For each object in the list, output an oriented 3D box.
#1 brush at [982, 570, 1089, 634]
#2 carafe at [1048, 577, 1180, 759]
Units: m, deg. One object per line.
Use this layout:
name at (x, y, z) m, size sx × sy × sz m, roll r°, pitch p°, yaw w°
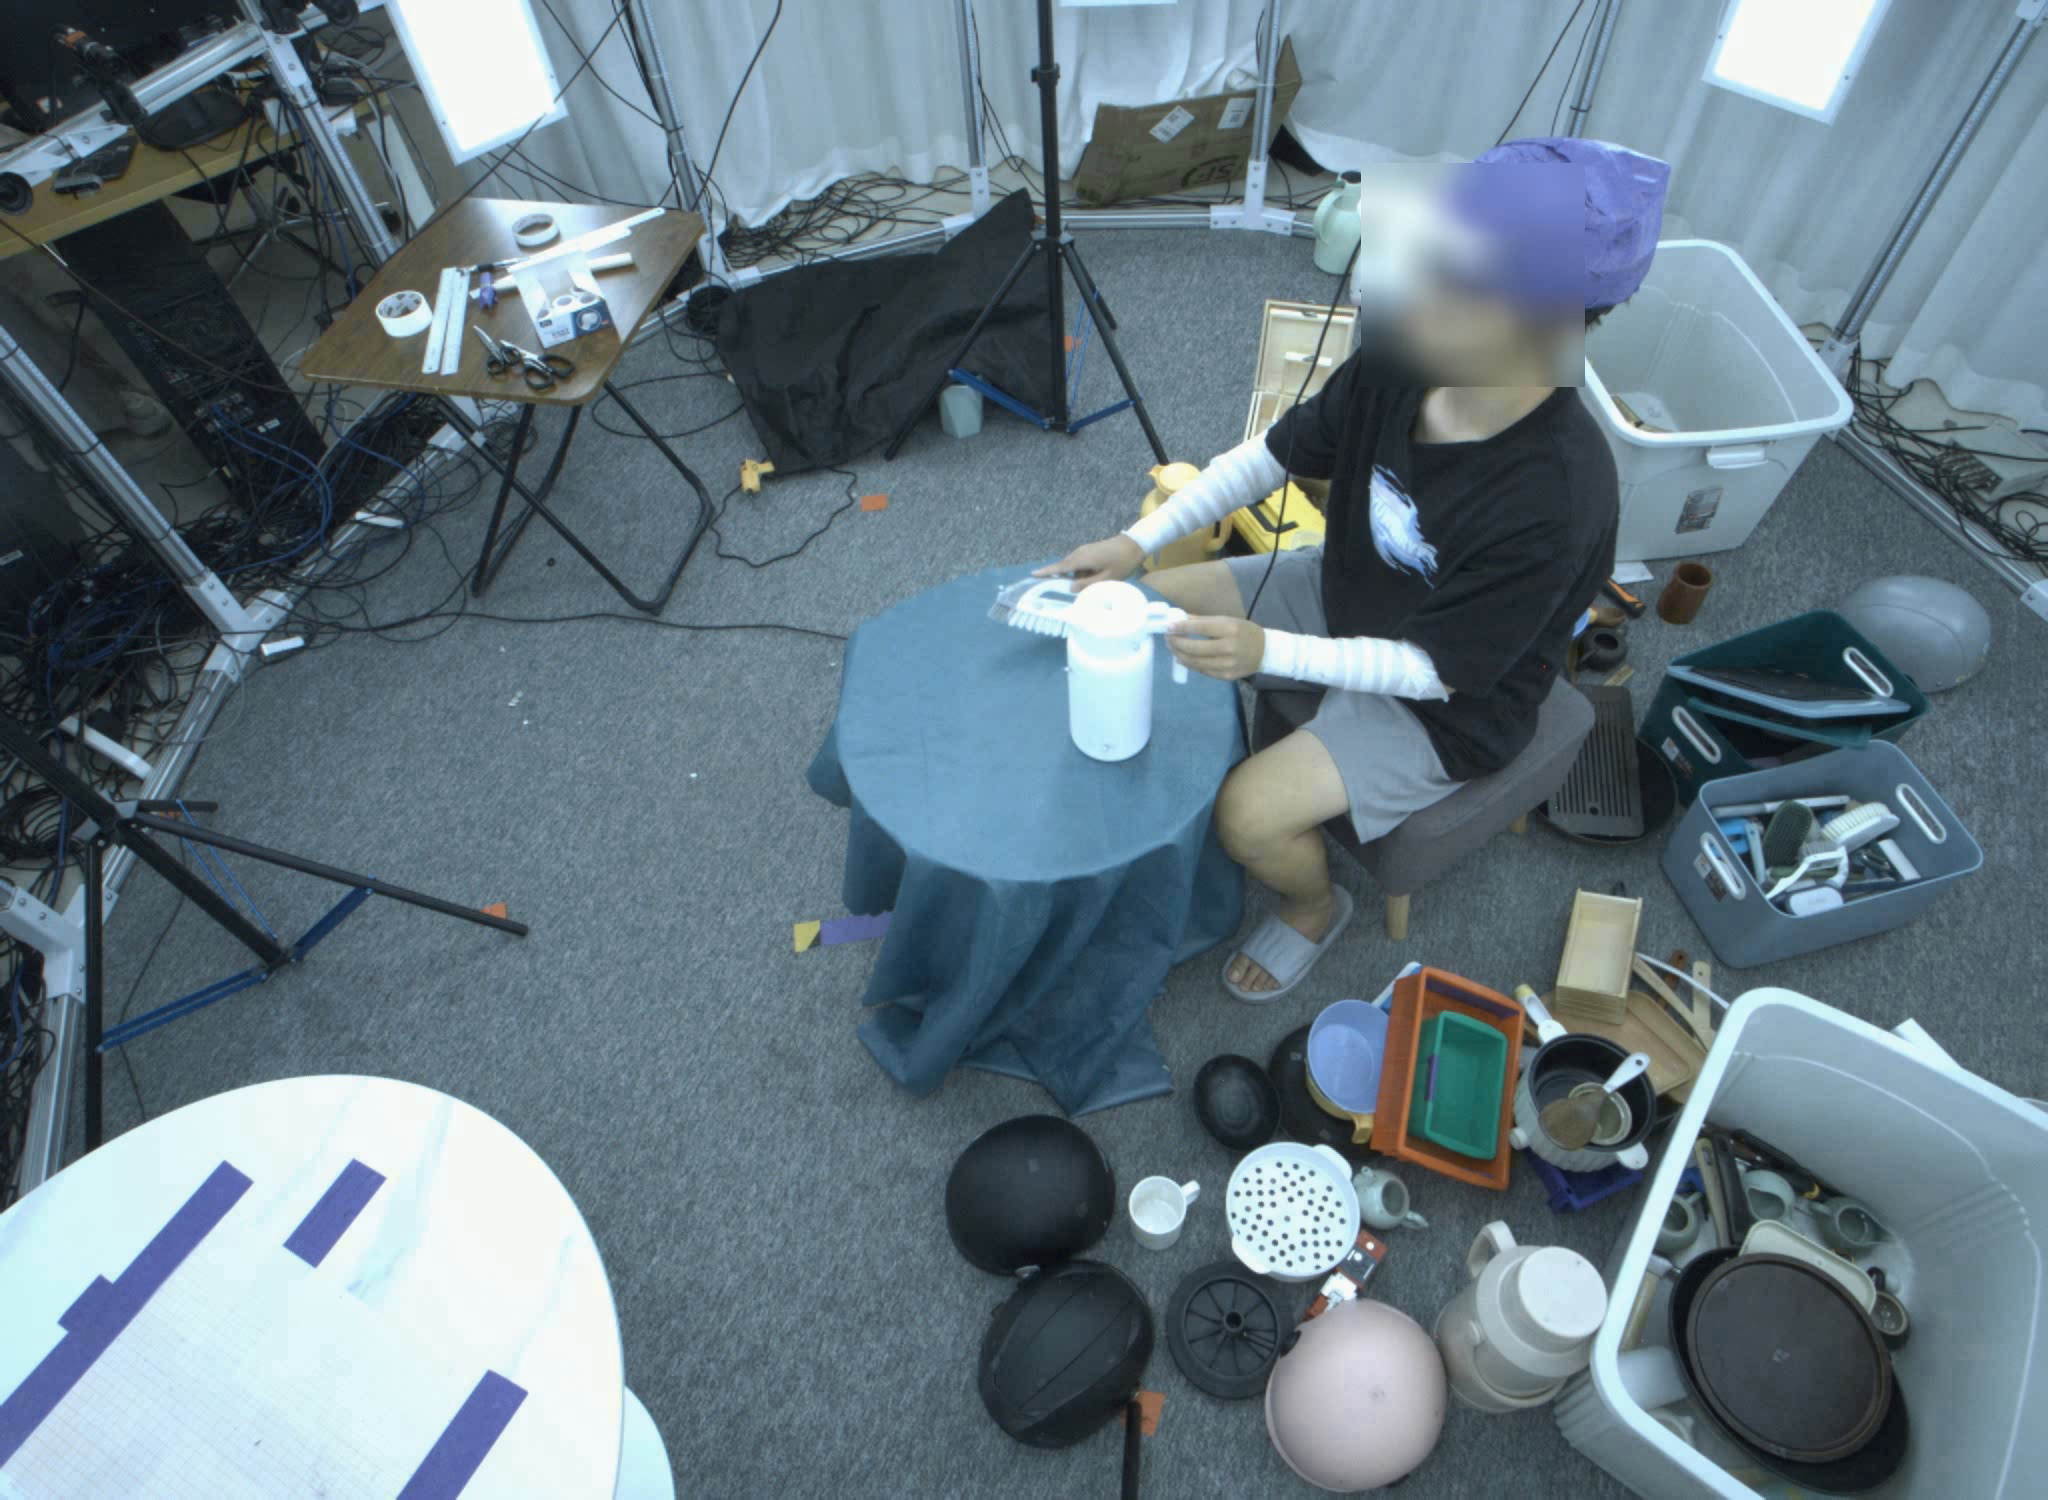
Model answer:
brush at (0.029, -0.225, 1.843) m, size 0.178 × 0.094 × 0.060 m, roll 7°, pitch 24°, yaw -15°
carafe at (0.124, -0.110, 1.688) m, size 0.173 × 0.272 × 0.122 m, roll -4°, pitch 52°, yaw 1°
